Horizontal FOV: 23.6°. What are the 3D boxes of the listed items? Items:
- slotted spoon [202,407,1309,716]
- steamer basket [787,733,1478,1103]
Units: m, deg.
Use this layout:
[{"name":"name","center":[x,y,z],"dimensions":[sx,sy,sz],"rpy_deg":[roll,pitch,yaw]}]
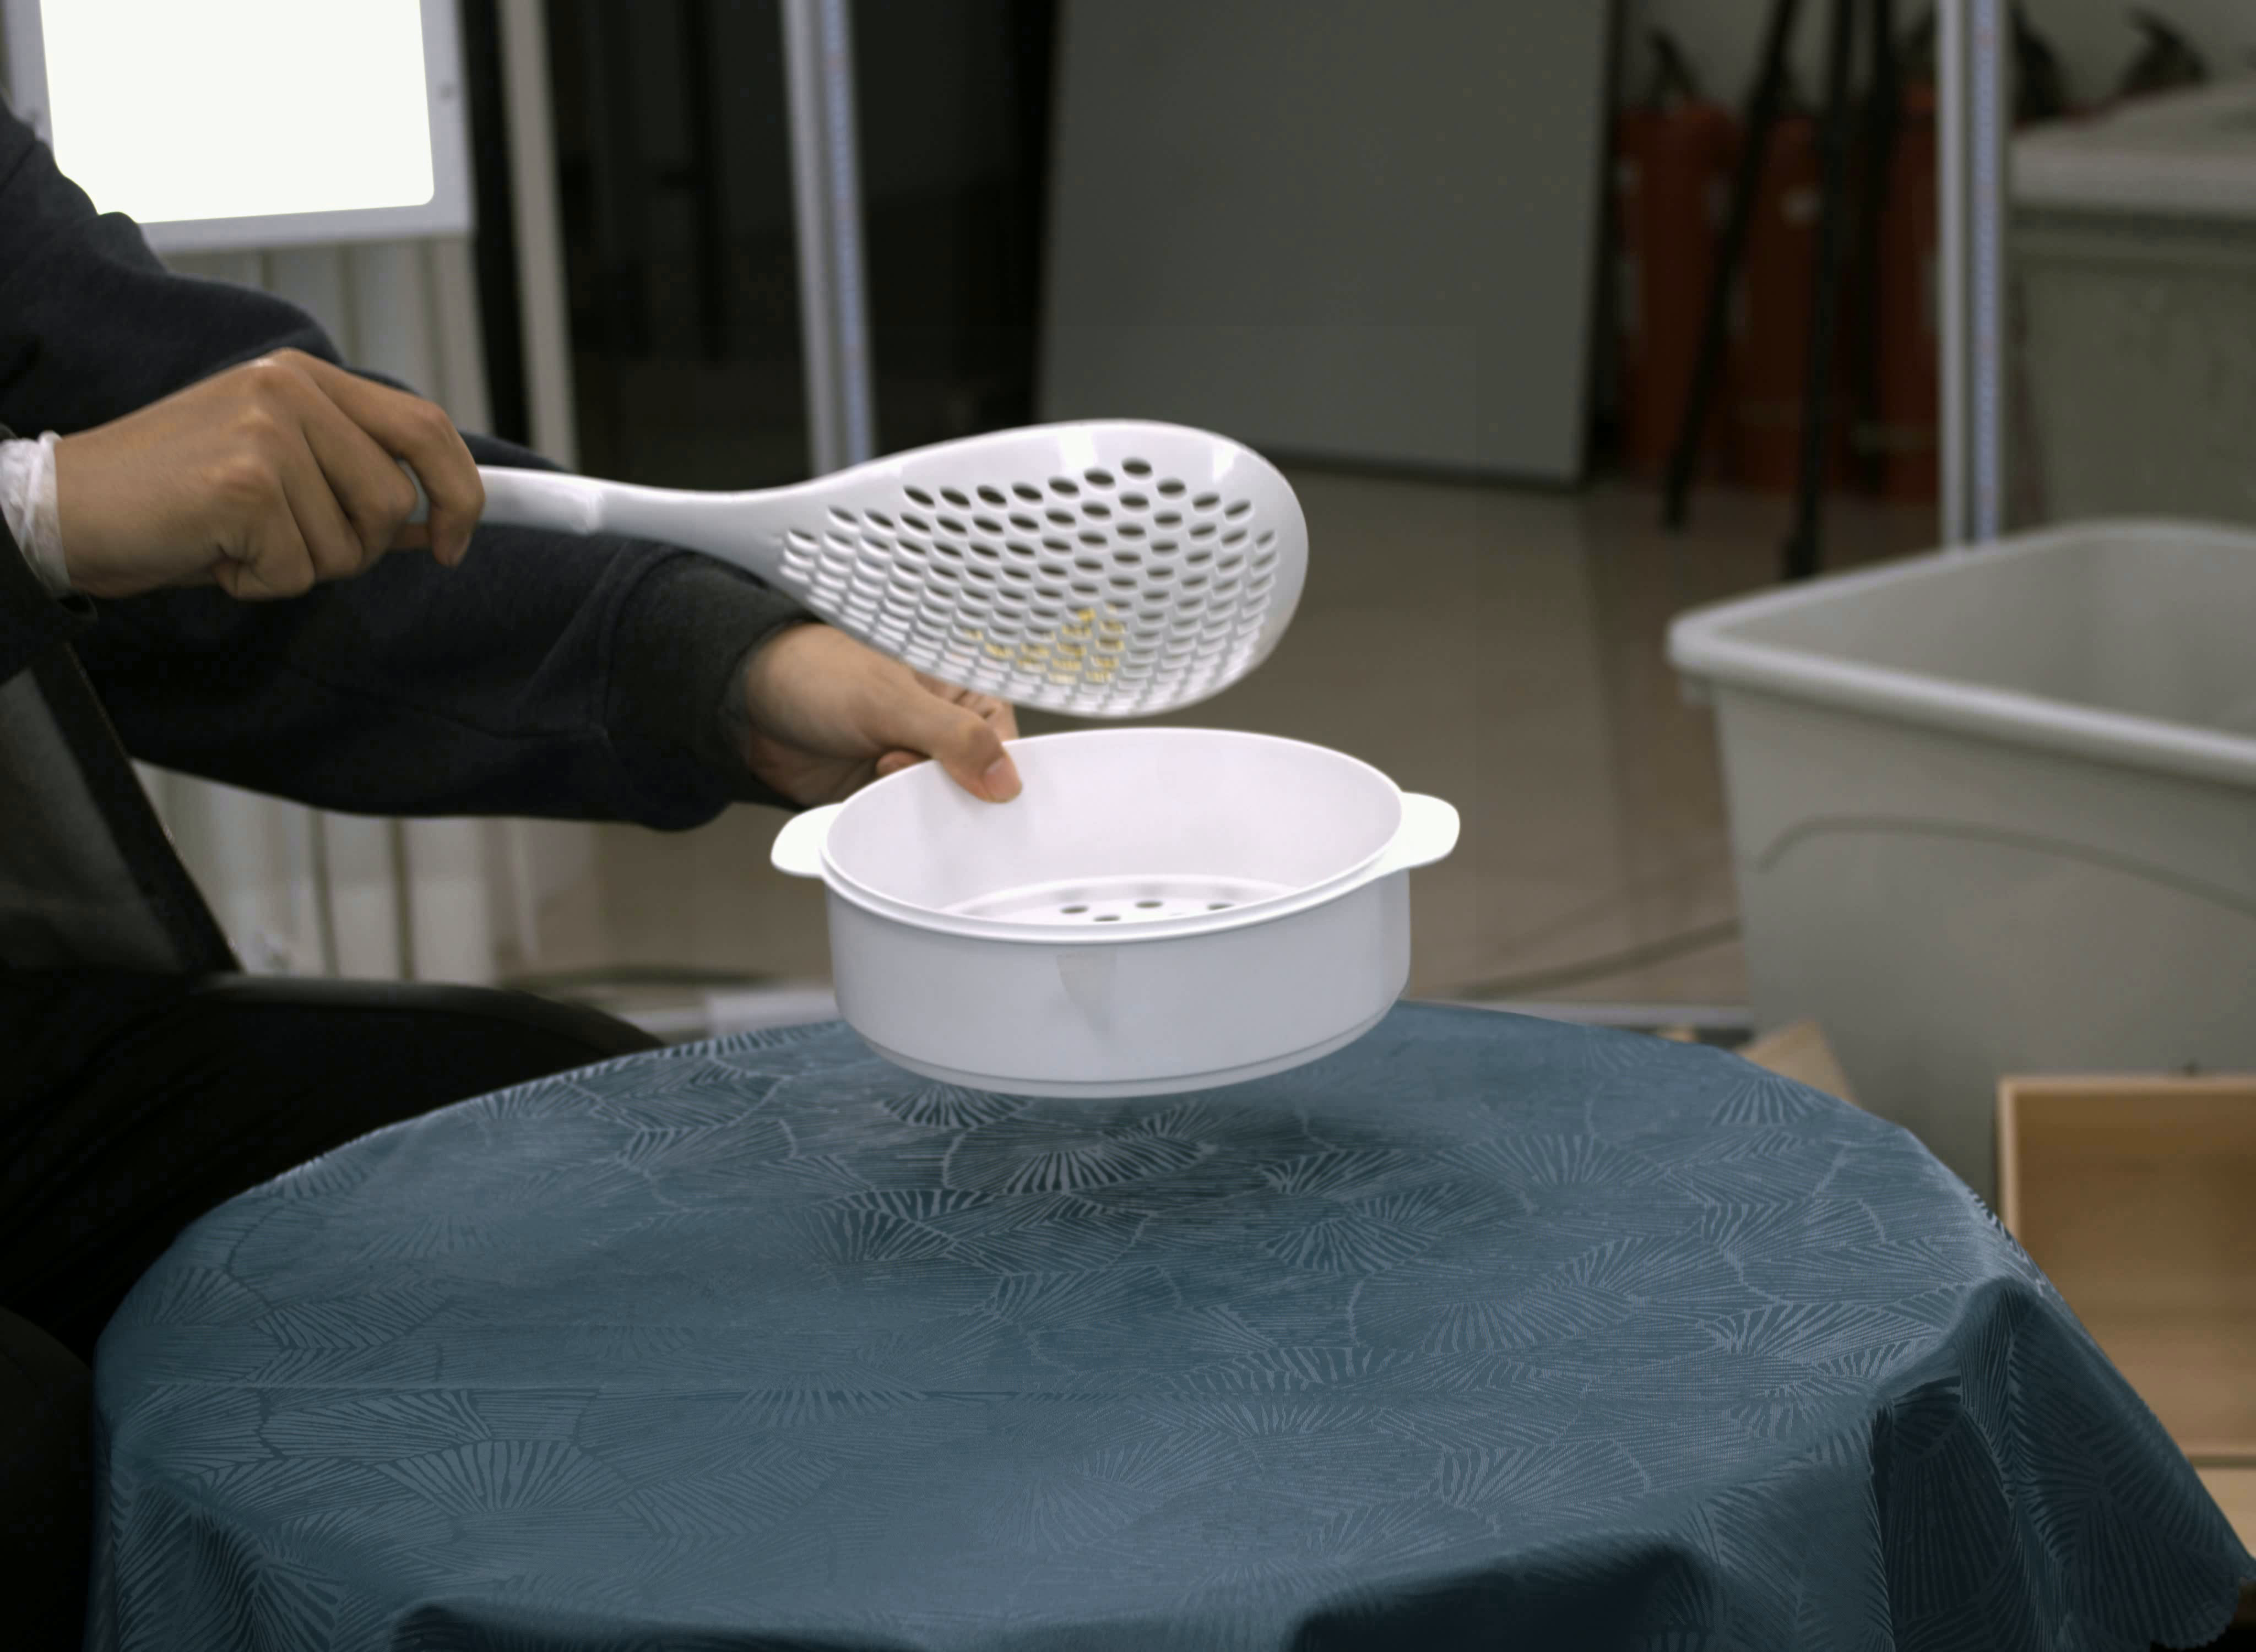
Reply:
[{"name":"slotted spoon","center":[-0.113,-0.088,1.681],"dimensions":[0.342,0.138,0.051],"rpy_deg":[10,49,-8]},{"name":"steamer basket","center":[0.002,0.029,1.783],"dimensions":[0.228,0.070,0.201],"rpy_deg":[1,18,7]}]
